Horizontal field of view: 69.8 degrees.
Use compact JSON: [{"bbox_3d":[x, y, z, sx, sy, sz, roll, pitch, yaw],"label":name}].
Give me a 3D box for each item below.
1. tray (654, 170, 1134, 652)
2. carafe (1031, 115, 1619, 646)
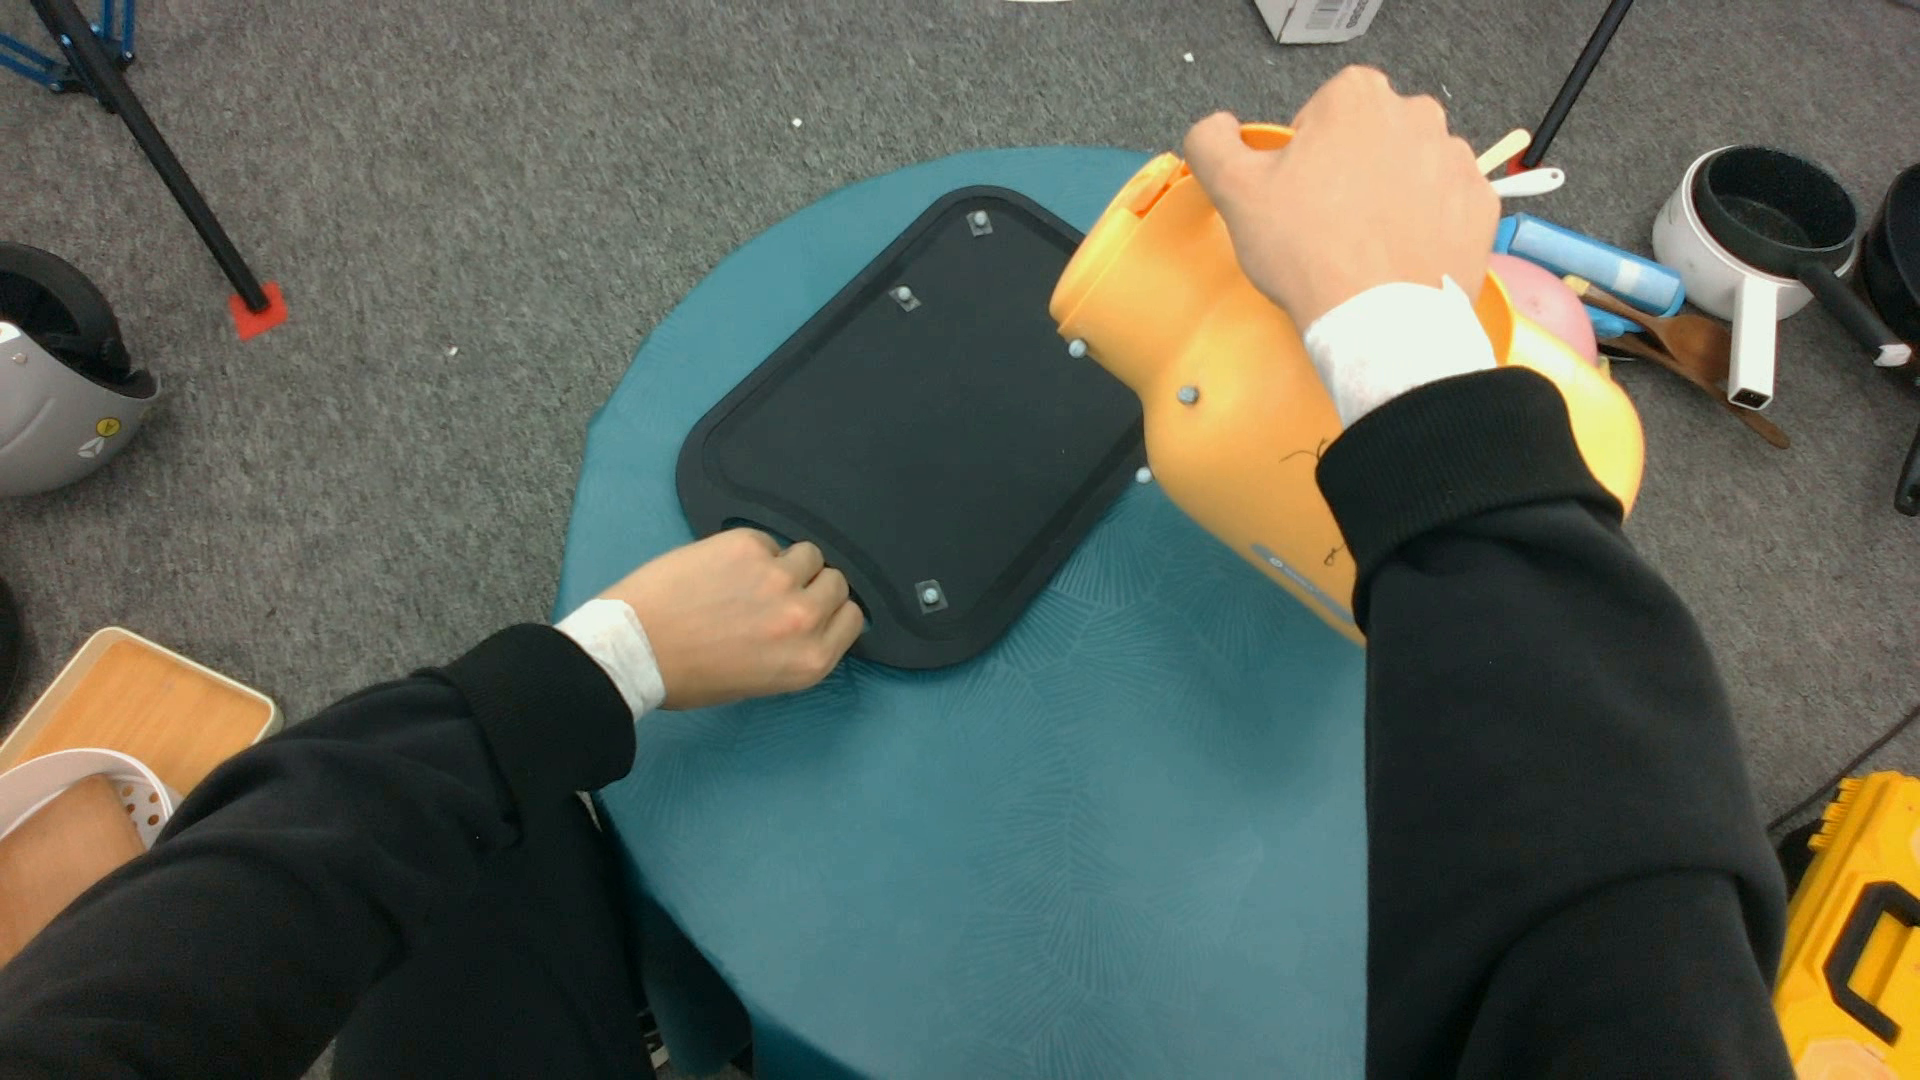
[{"bbox_3d":[-0.015,-0.083,0.788,0.211,0.010,0.327,36,63,12],"label":"tray"},{"bbox_3d":[0.162,-0.080,0.623,0.260,0.202,0.164,34,73,-3],"label":"carafe"}]
